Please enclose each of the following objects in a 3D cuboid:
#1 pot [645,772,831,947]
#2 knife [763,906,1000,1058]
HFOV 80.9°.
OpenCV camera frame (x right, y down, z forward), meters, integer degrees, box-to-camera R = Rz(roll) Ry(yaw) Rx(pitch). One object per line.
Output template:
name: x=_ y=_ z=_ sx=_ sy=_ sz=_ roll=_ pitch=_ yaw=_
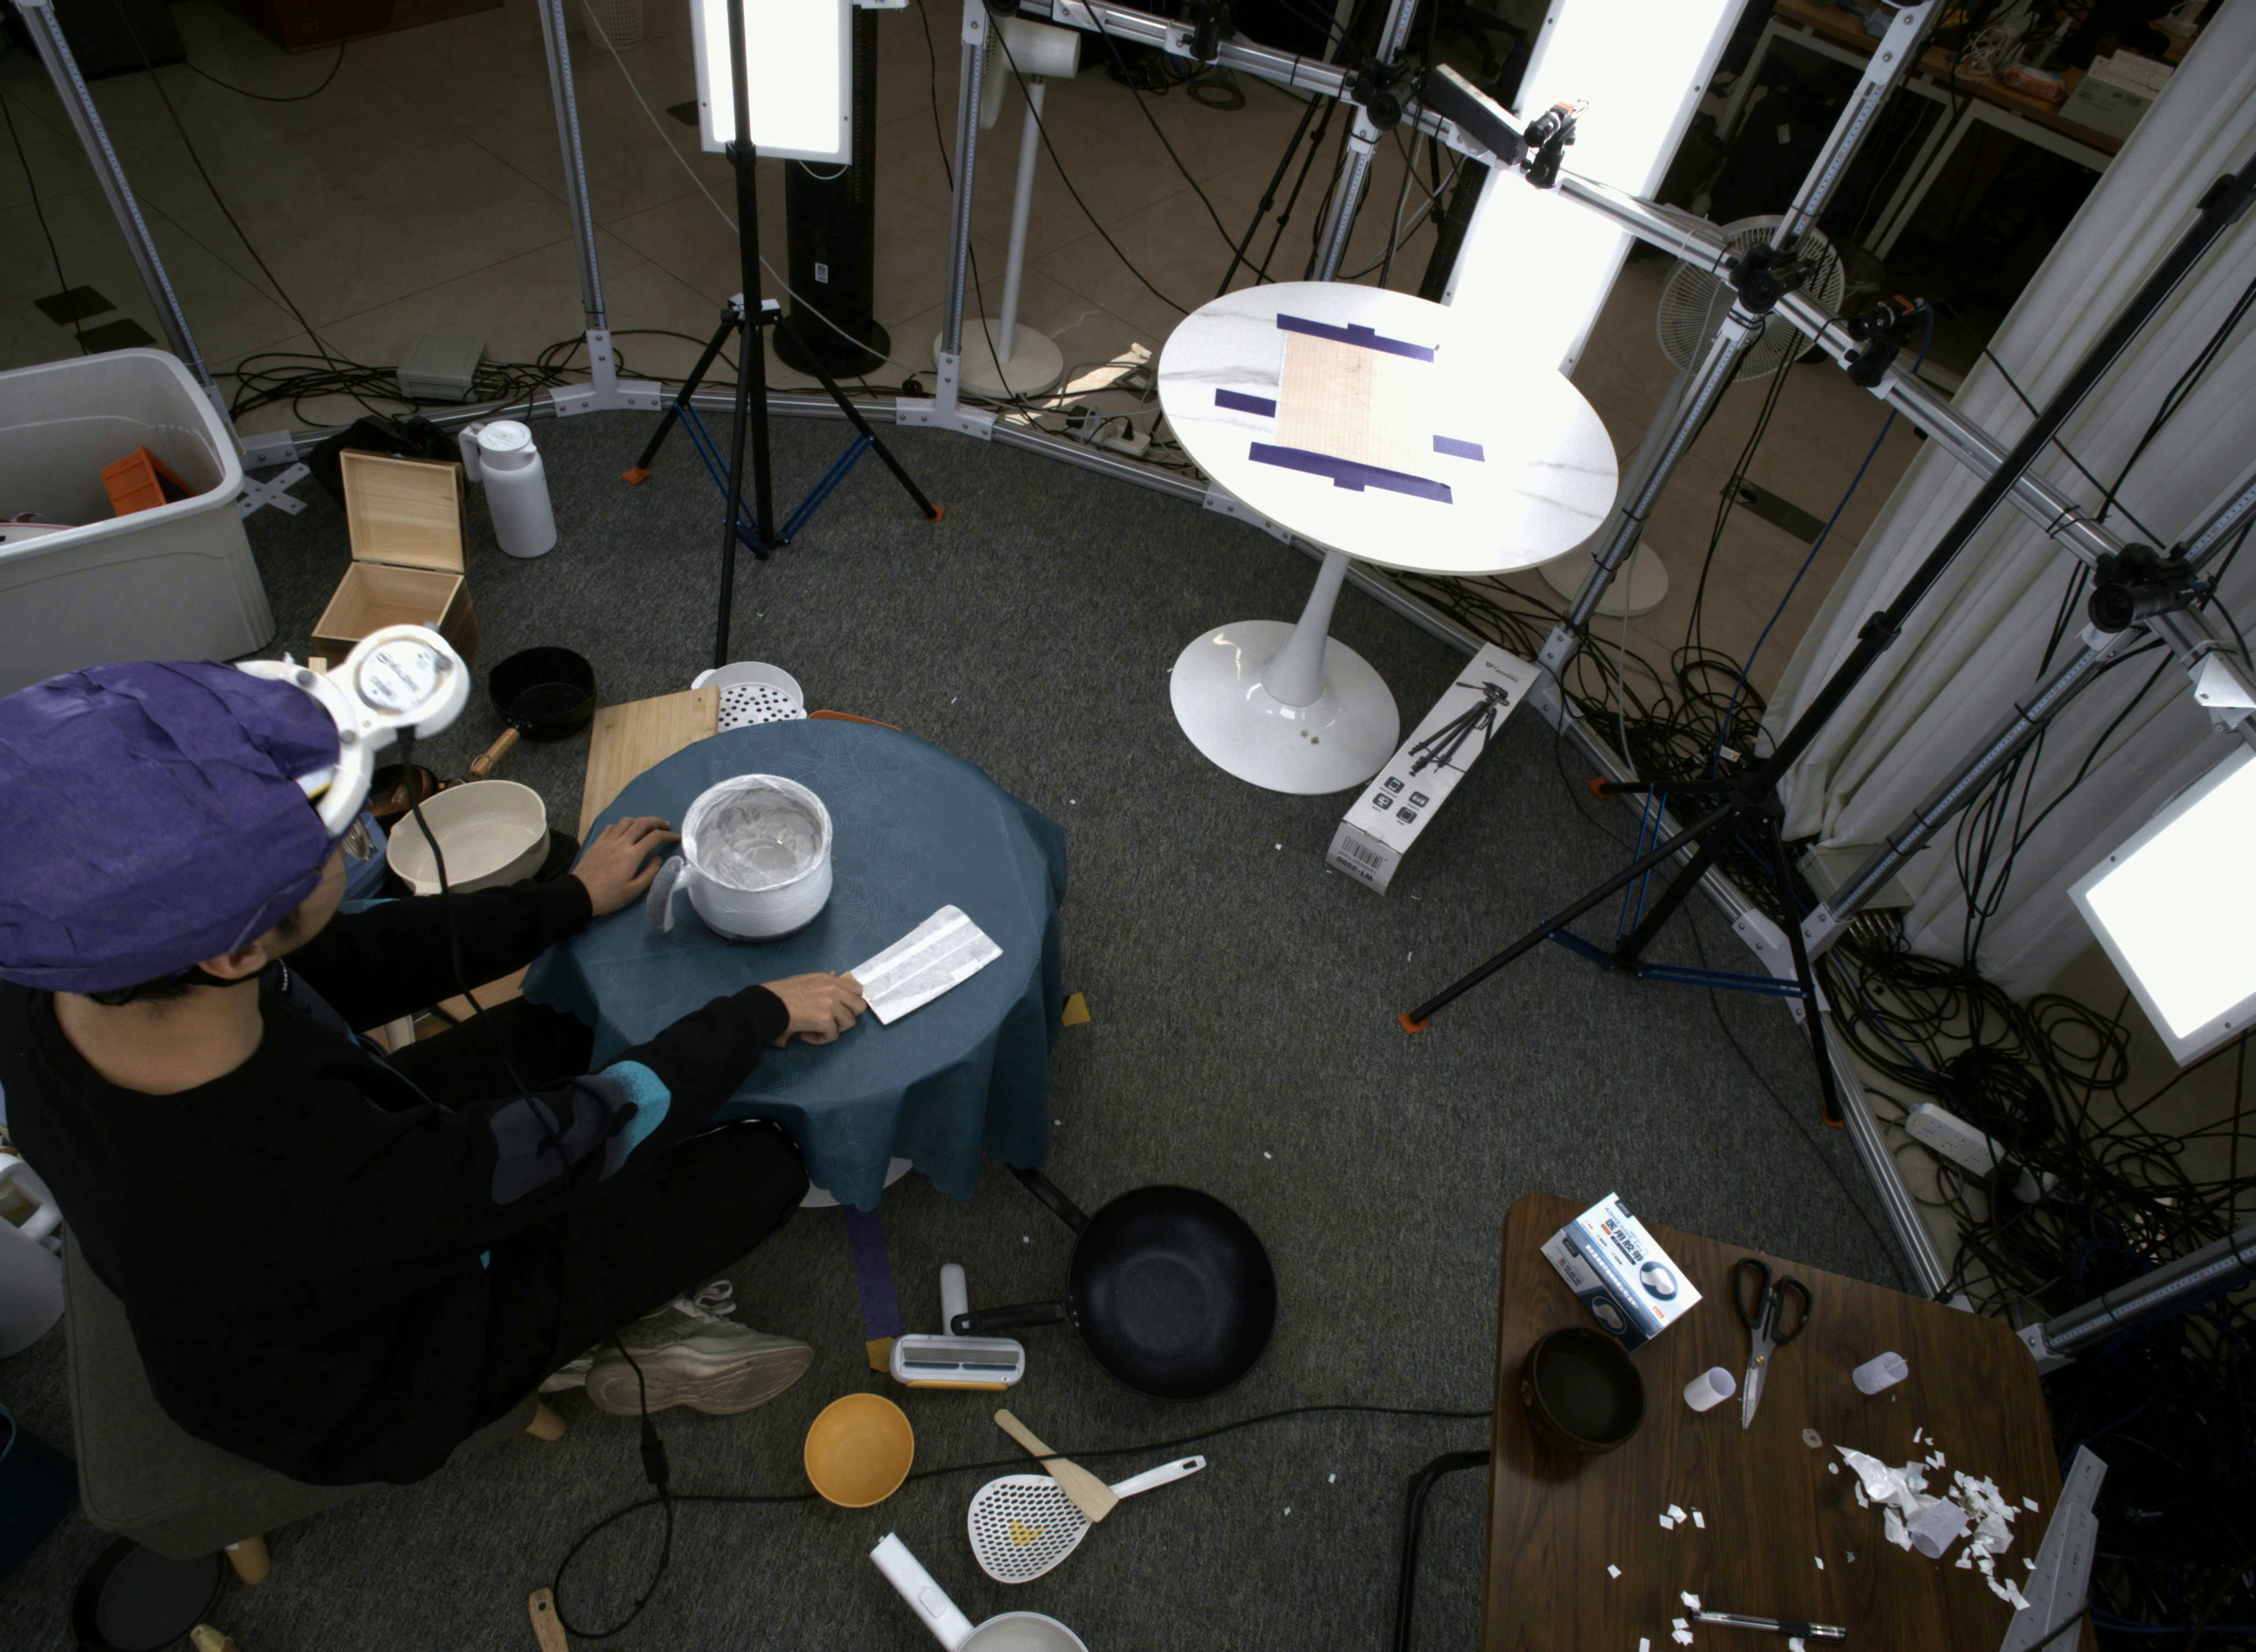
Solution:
pot: x=-0.476 y=0.053 z=1.571 sx=0.235 sy=0.139 sz=0.174 roll=-25 pitch=62 yaw=-30
knife: x=-0.303 y=0.190 z=1.592 sx=0.317 sy=0.022 sz=0.111 roll=-28 pitch=66 yaw=-33
